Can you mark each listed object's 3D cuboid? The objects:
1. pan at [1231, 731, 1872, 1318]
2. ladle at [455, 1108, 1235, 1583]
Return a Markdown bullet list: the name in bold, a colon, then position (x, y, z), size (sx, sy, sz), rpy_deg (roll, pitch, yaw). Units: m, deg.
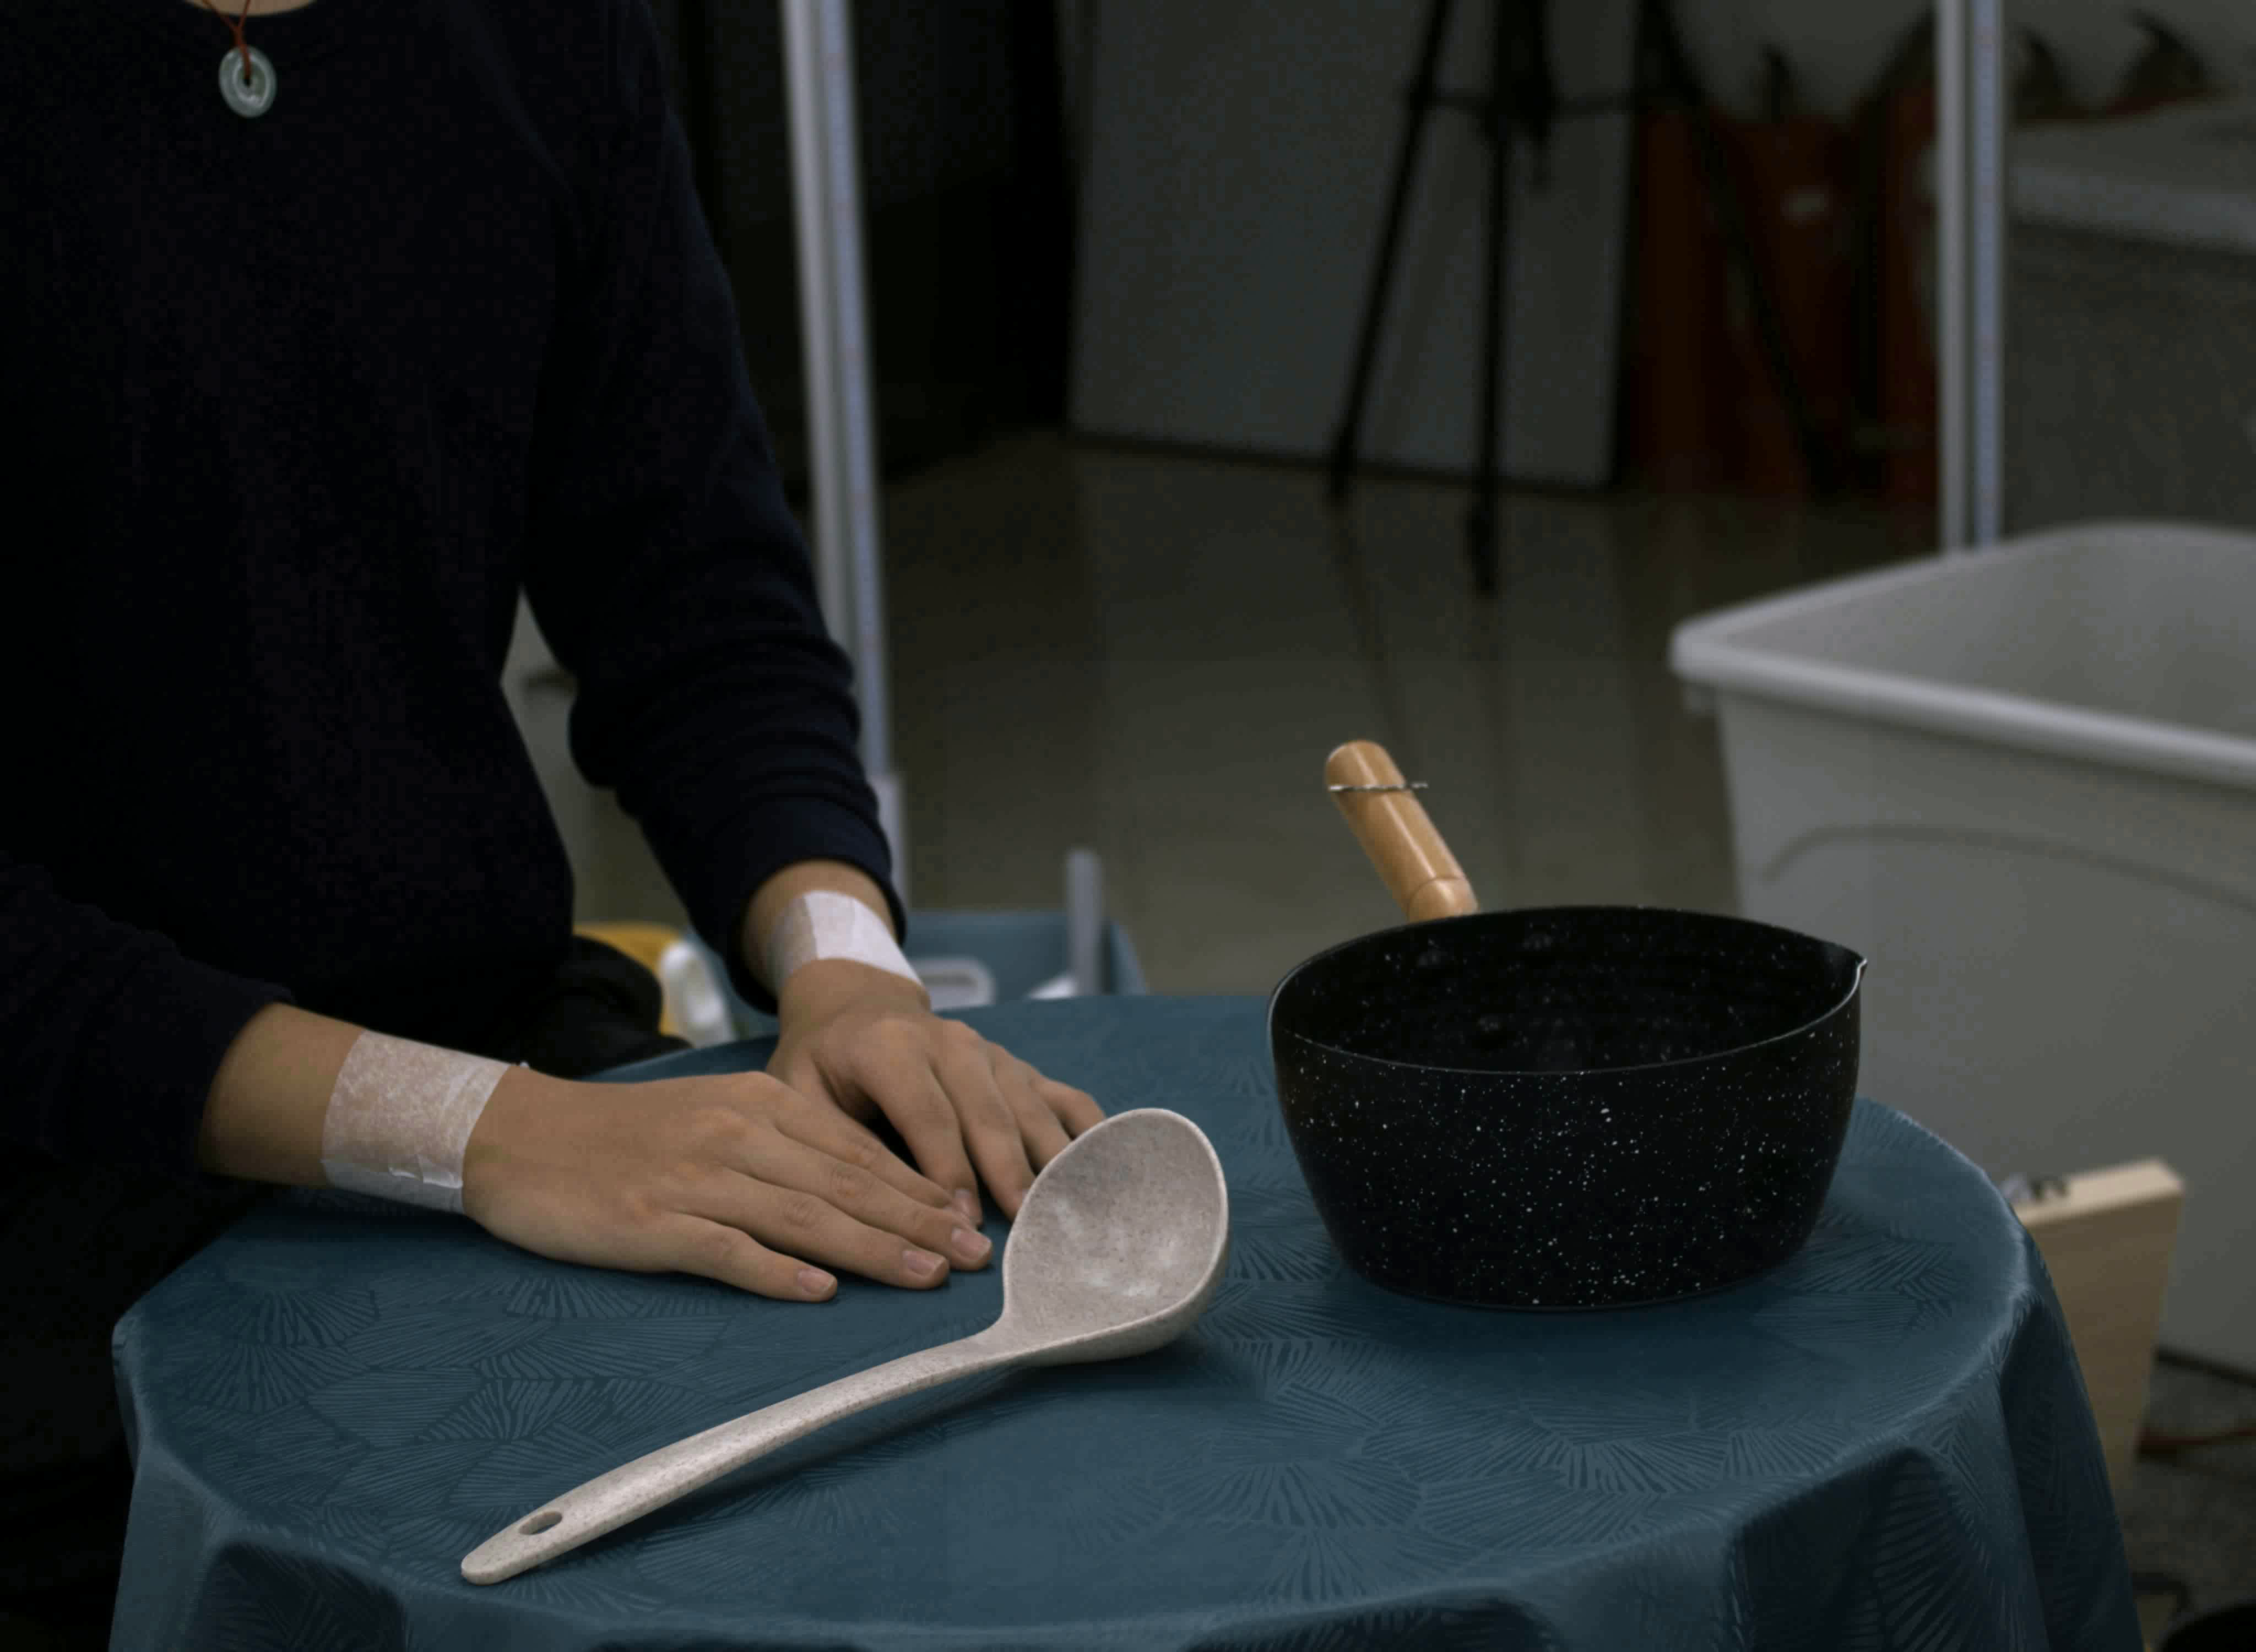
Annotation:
- **pan**: position (0.118, 0.059, 1.758), size (0.204, 0.109, 0.345), rpy_deg (-8, 16, -12)
- **ladle**: position (-0.082, 0.145, 1.550), size (0.269, 0.070, 0.090), rpy_deg (-15, 21, -39)
